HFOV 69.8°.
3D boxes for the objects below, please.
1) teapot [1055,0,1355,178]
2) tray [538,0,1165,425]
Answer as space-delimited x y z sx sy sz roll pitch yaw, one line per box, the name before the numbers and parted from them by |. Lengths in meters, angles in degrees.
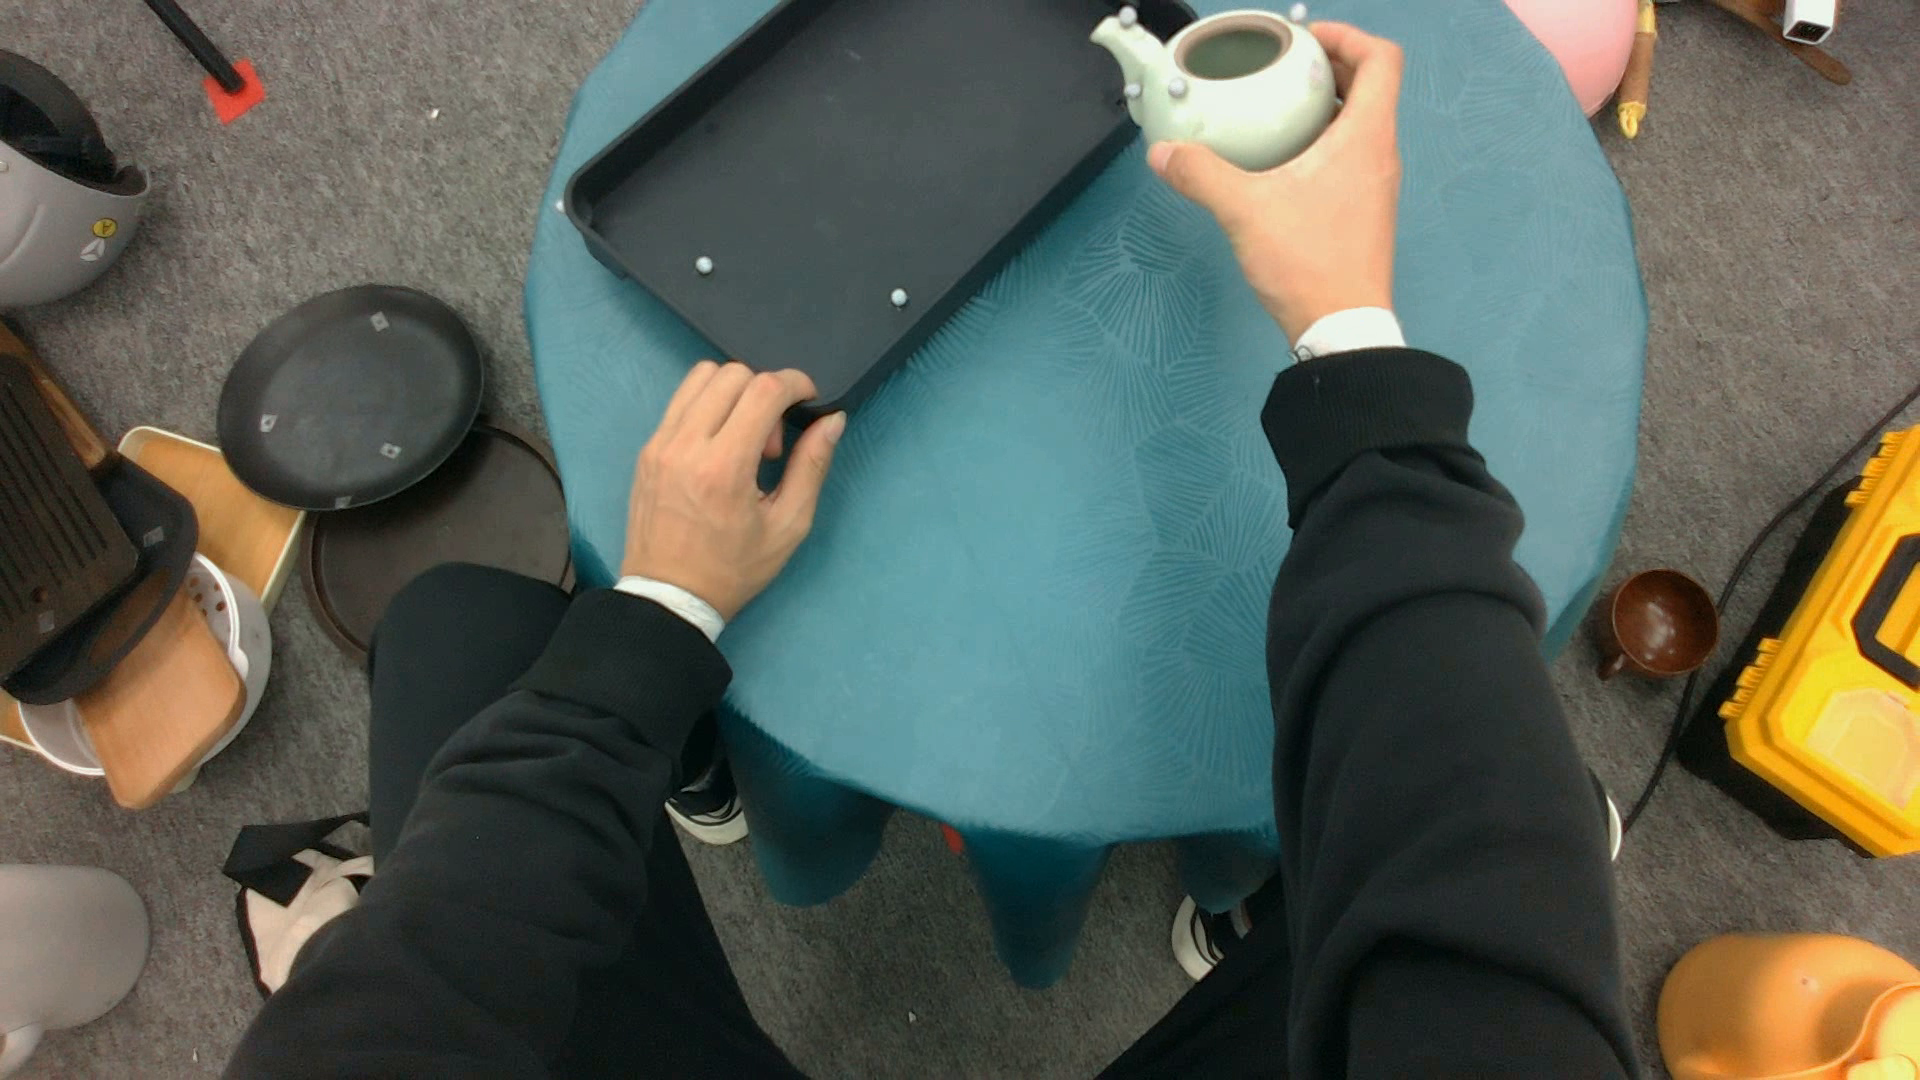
teapot | 0.114 -0.212 0.641 0.143 0.074 0.089 16 57 34
tray | -0.049 -0.220 0.727 0.184 0.037 0.319 38 71 9
